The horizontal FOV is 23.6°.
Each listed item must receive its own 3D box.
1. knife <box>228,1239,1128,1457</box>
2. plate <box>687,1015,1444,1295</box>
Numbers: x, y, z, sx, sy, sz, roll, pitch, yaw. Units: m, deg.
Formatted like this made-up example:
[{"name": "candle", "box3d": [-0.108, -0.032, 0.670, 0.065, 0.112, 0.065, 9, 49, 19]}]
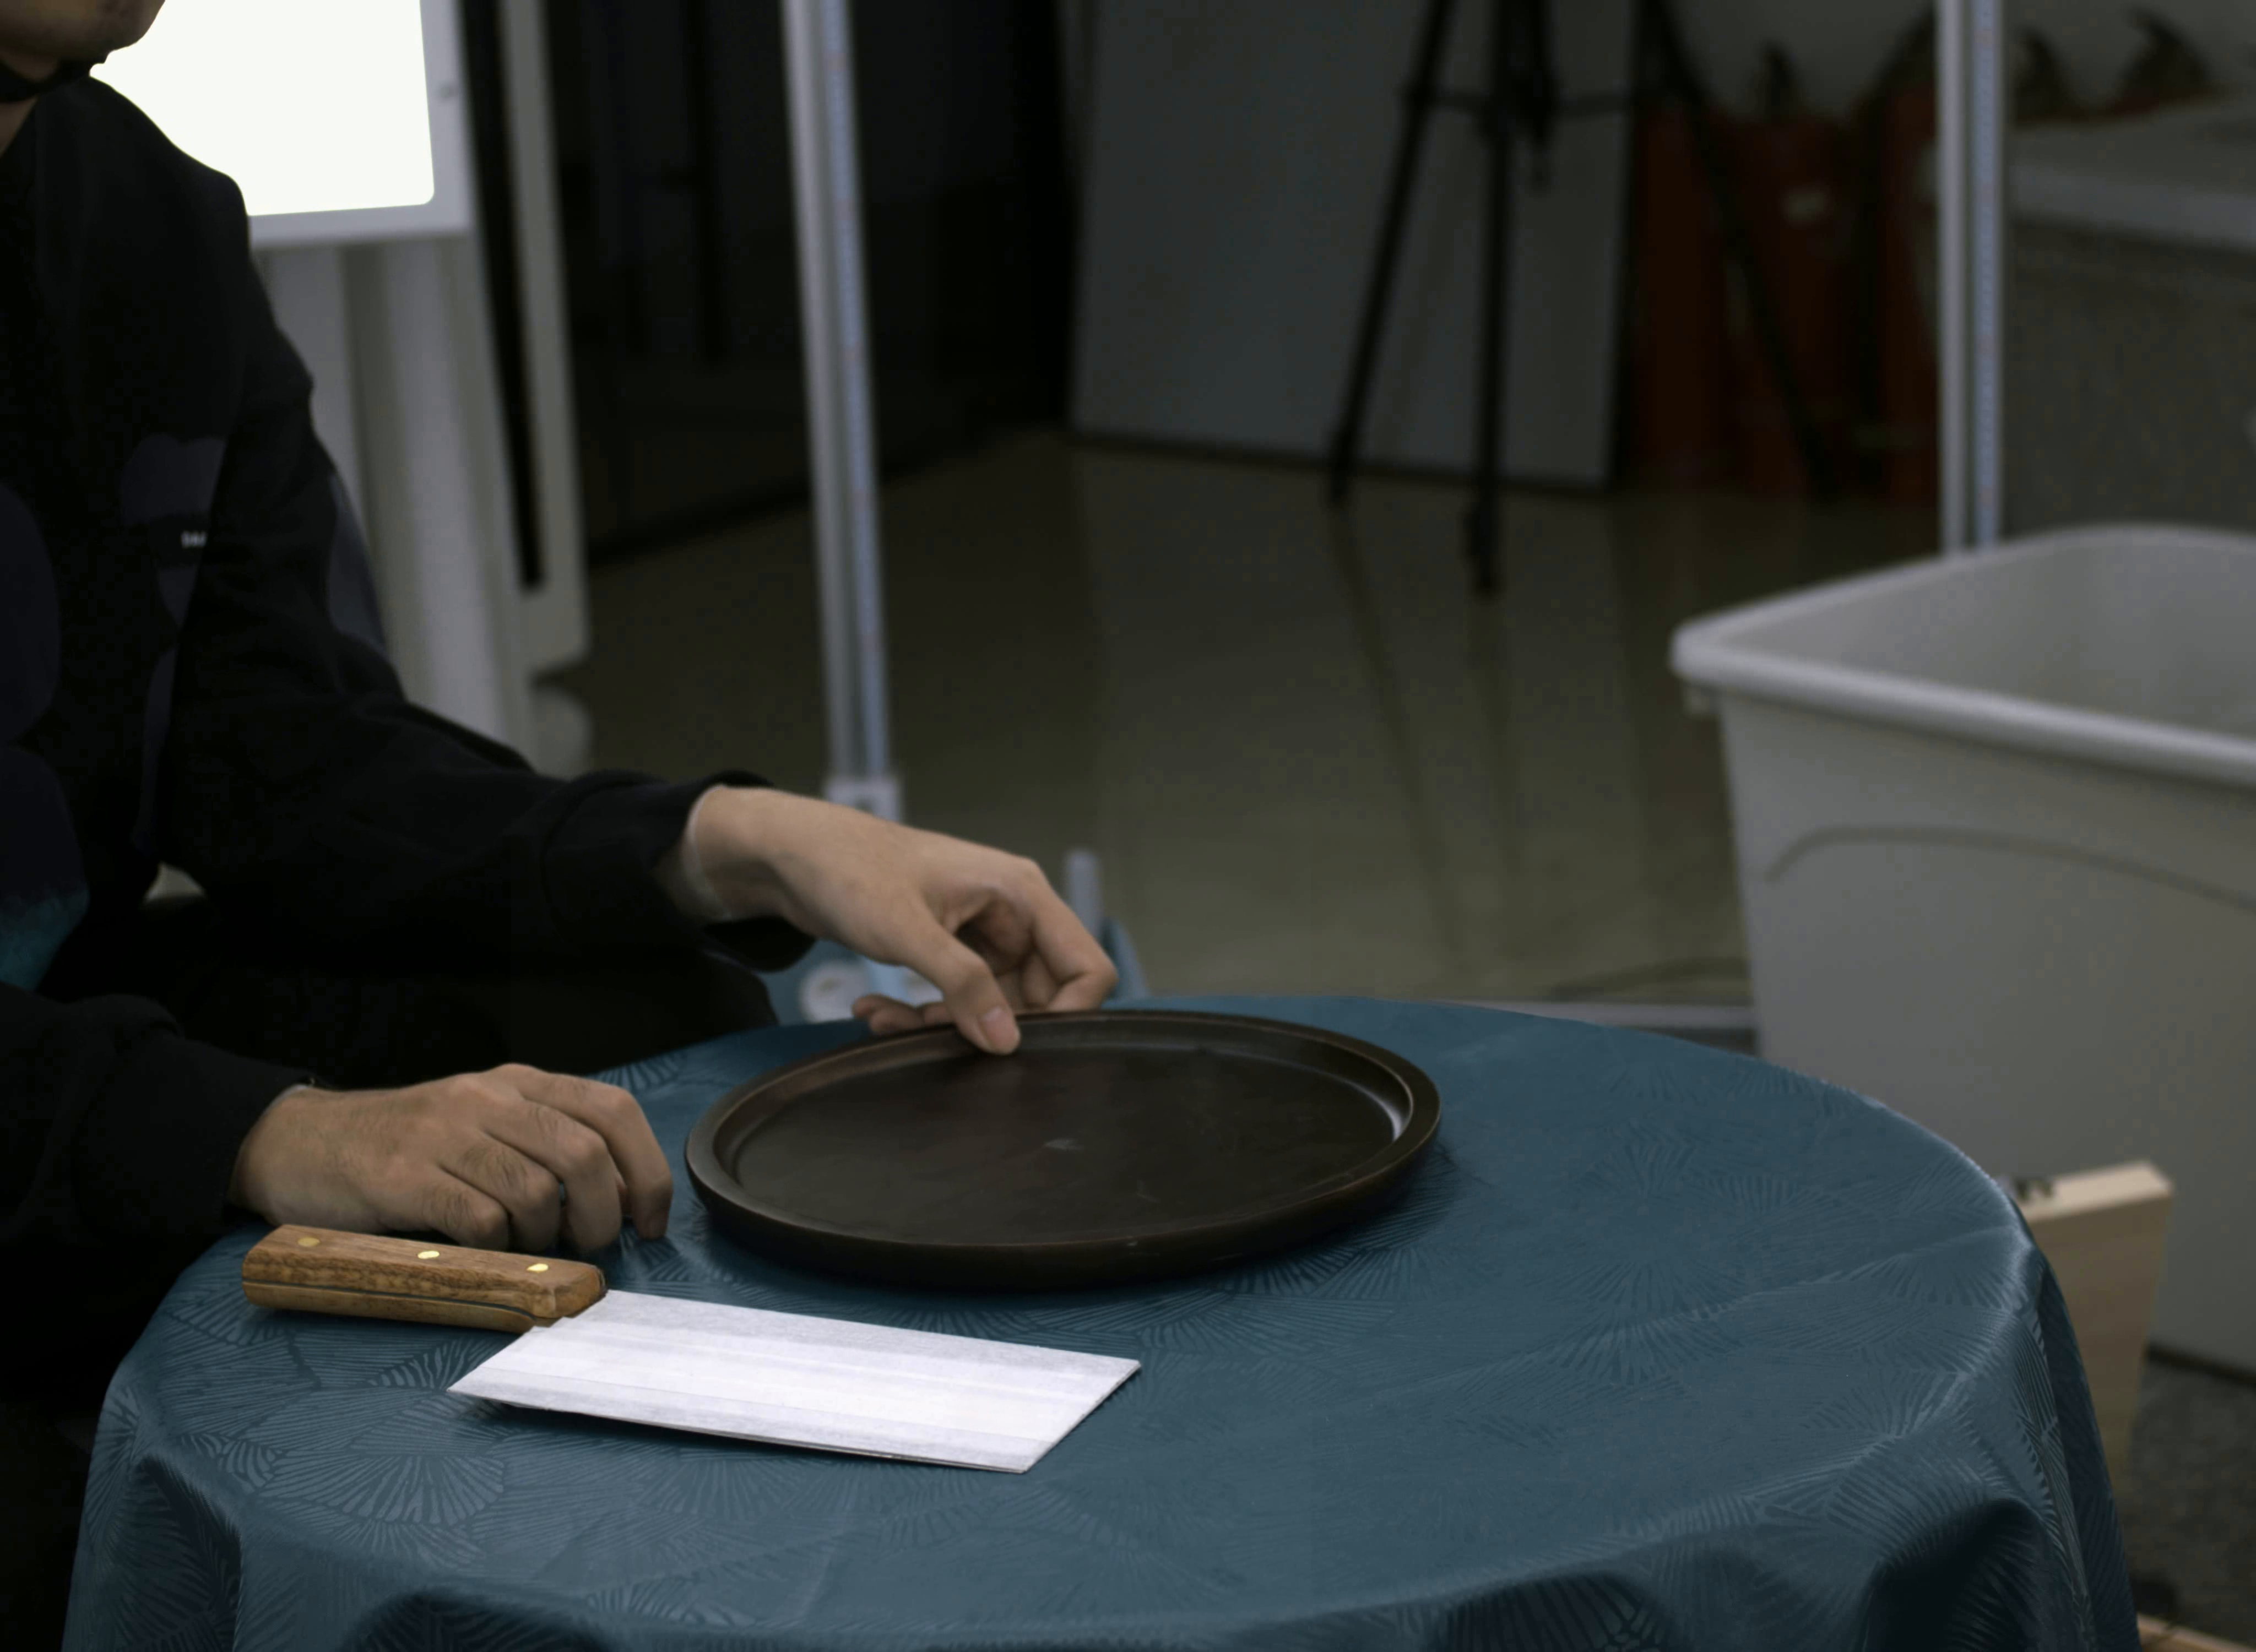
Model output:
[{"name": "knife", "box3d": [-0.150, 0.160, 1.628, 0.306, 0.021, 0.092, 5, 18, 24]}, {"name": "plate", "box3d": [-0.020, 0.107, 1.783, 0.251, 0.029, 0.255, -3, 13, 0]}]
